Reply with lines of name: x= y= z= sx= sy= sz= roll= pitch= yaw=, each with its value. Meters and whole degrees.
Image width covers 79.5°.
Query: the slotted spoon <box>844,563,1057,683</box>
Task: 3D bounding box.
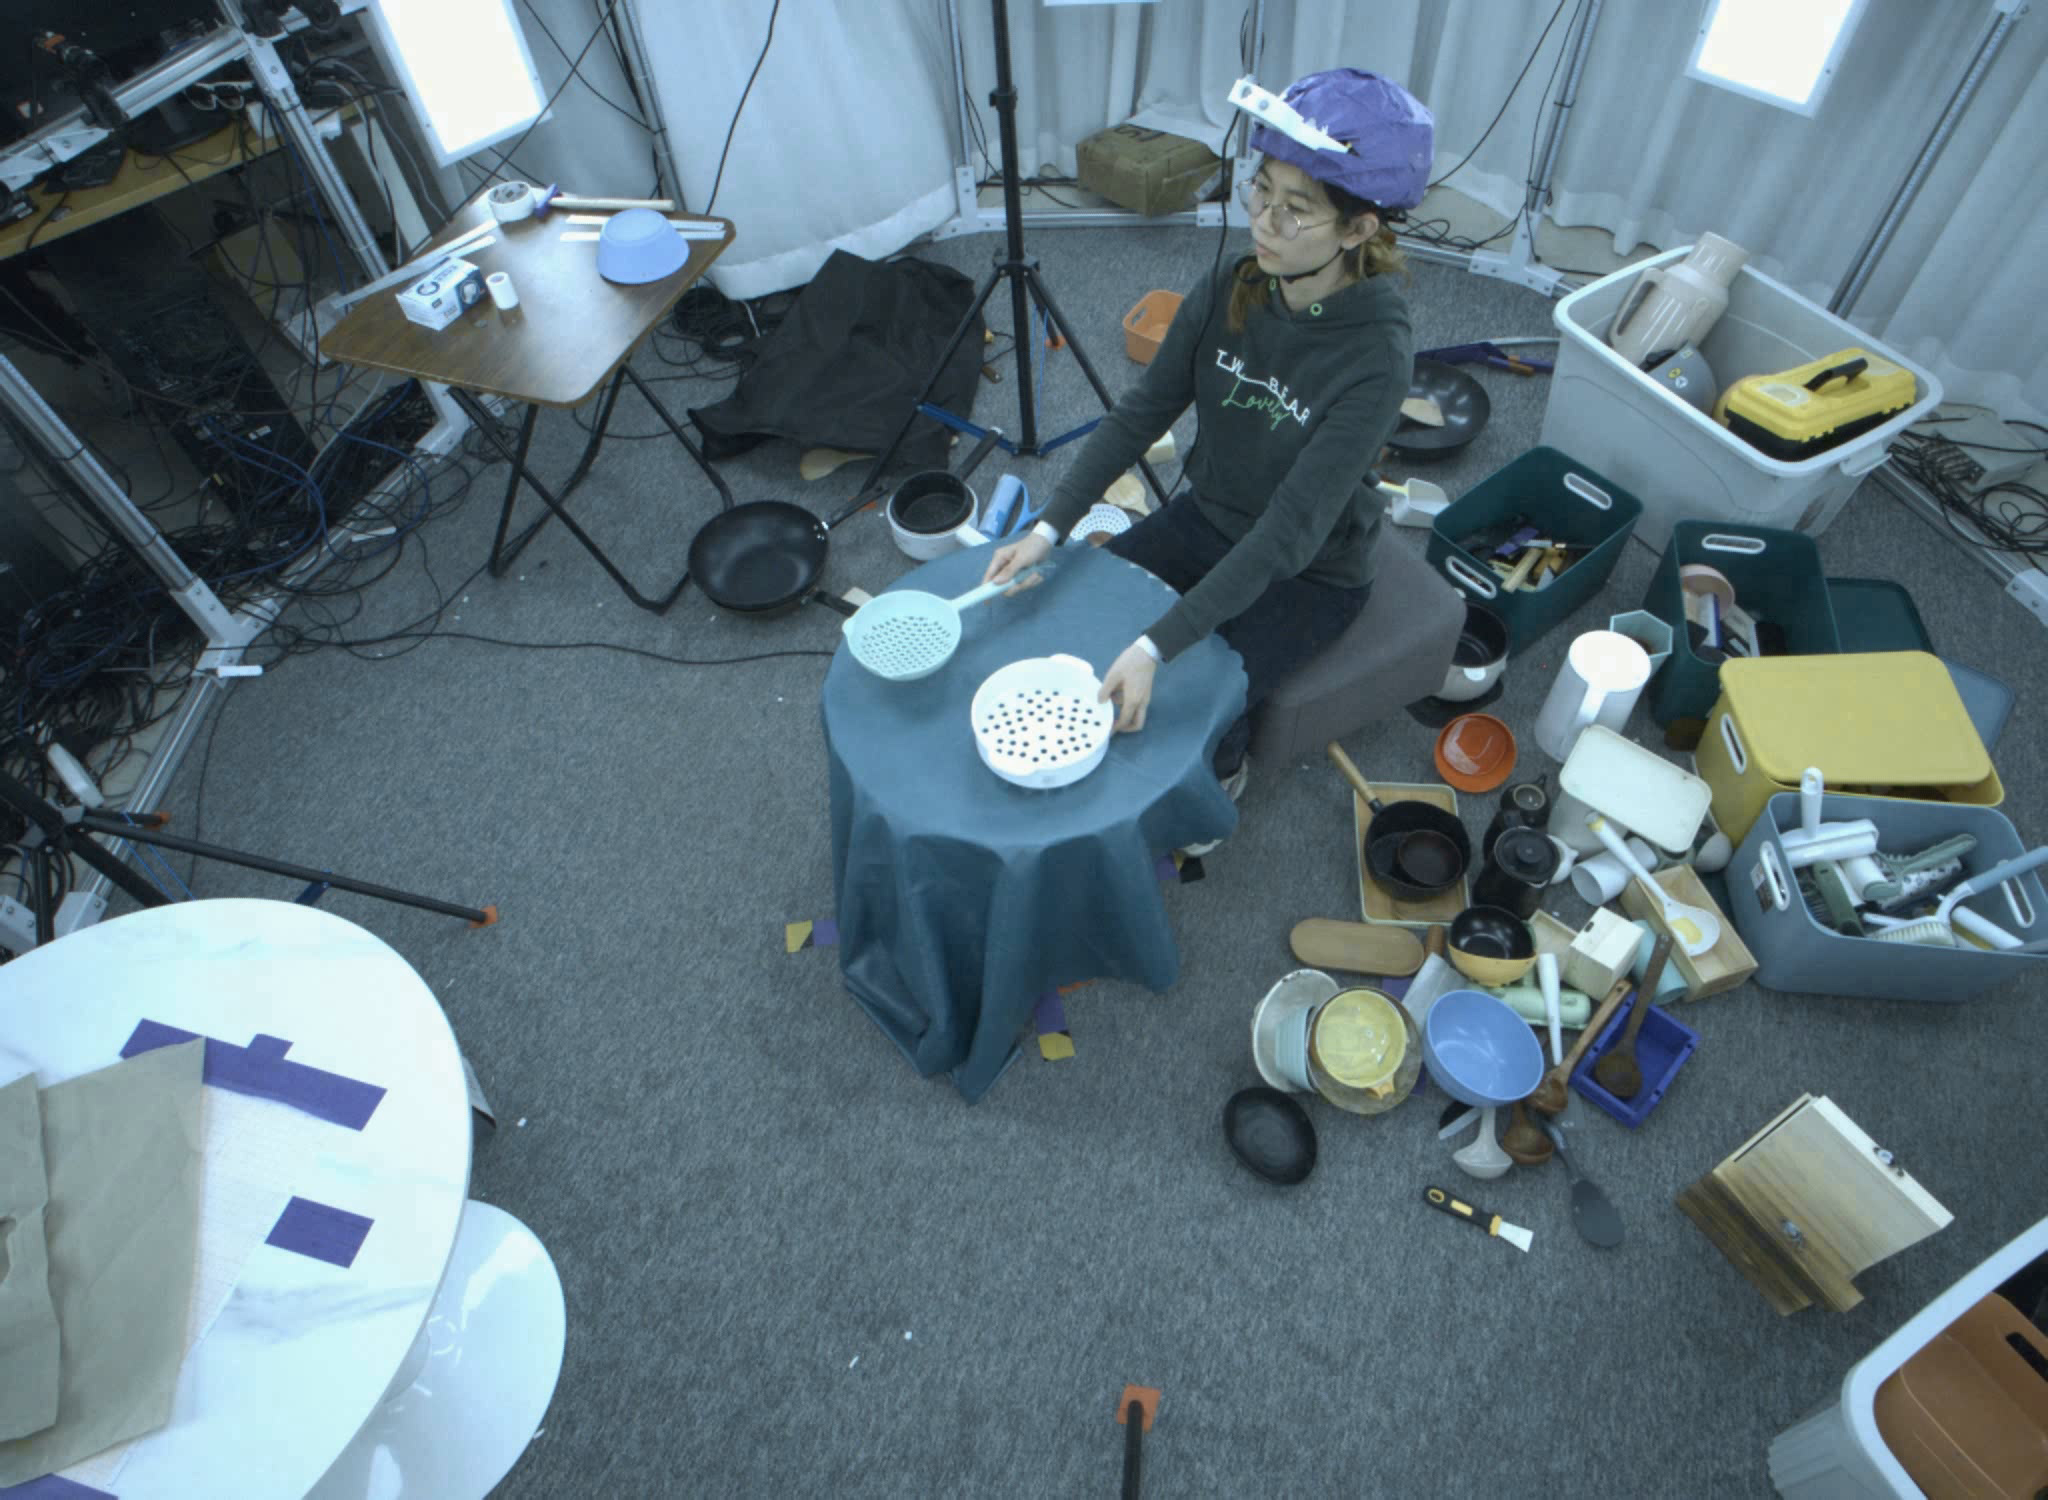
slotted spoon: x=-0.098 y=-0.212 z=1.870 sx=0.361 sy=0.076 sz=0.166 roll=-35 pitch=62 yaw=-16

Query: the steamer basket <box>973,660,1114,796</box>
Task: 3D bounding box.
steamer basket: x=0.027 y=-0.027 z=1.770 sx=0.200 sy=0.070 sz=0.231 roll=21 pitch=56 yaw=12
